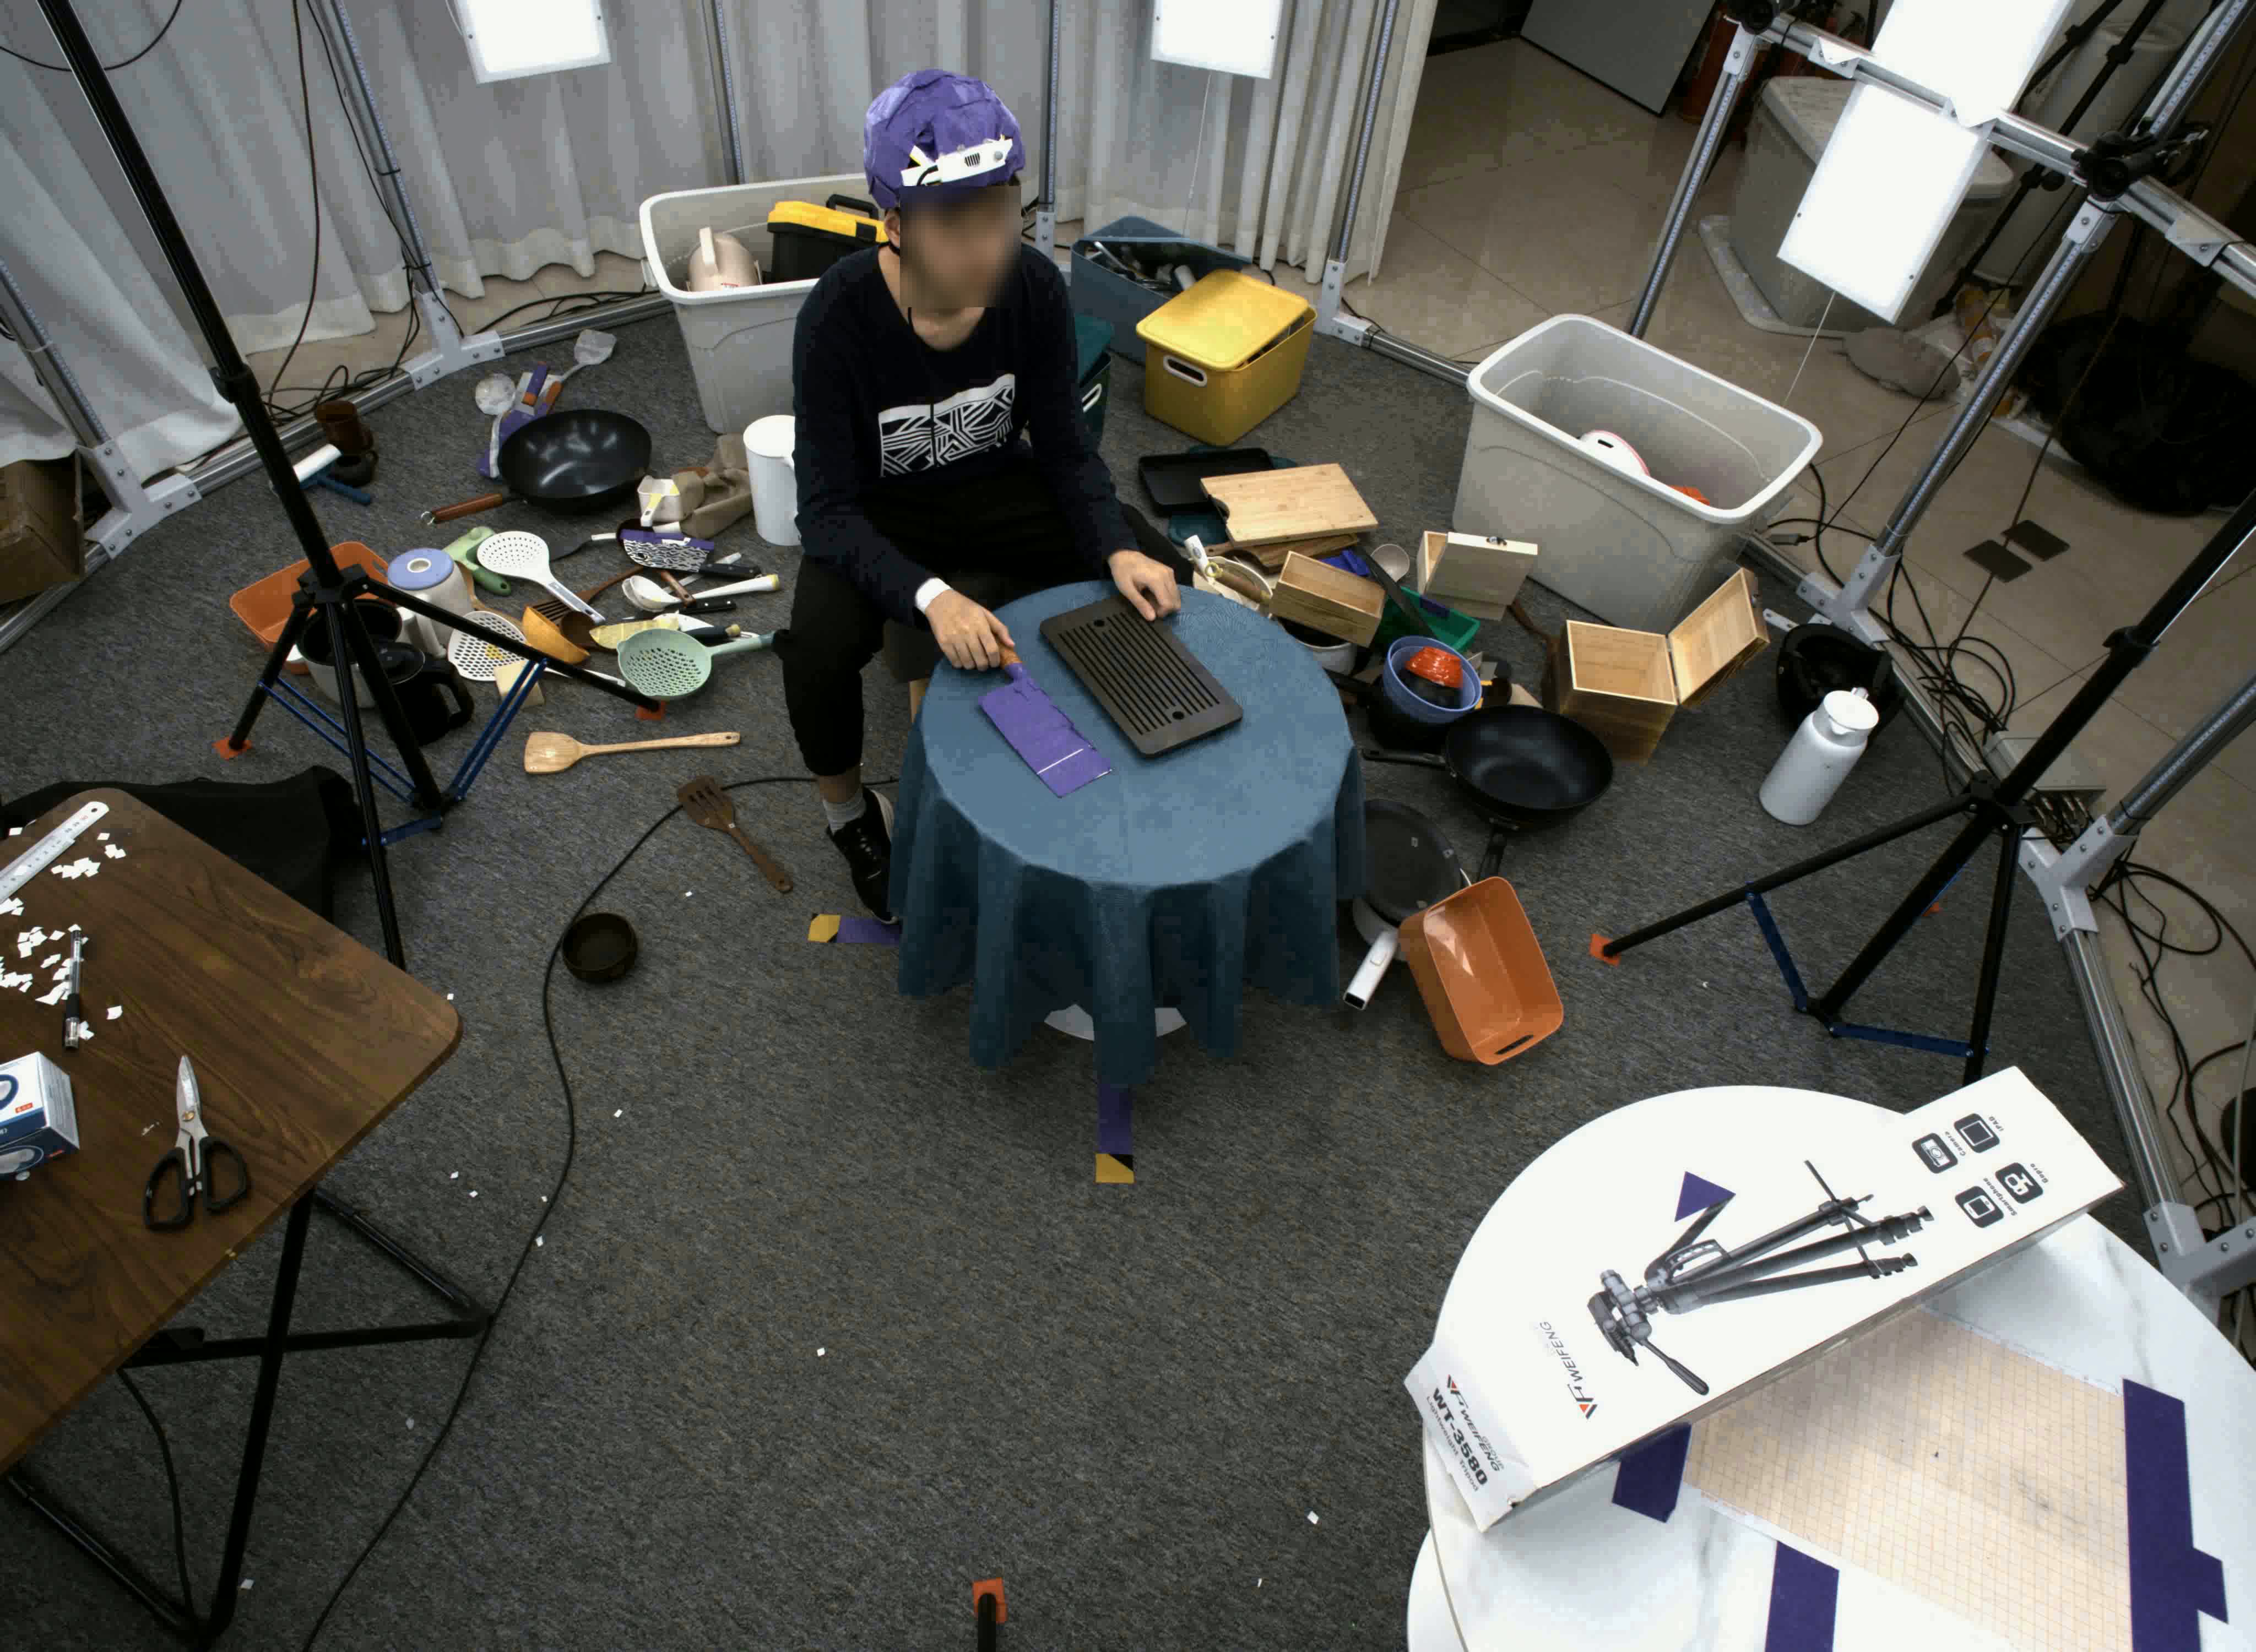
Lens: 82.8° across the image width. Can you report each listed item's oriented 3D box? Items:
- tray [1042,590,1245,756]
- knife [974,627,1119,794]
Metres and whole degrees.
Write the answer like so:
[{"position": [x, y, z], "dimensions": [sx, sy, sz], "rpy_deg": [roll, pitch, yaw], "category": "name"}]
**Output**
[{"position": [0.019, -0.225, 1.852], "dimensions": [0.170, 0.018, 0.312], "rpy_deg": [-23, 54, -22], "category": "tray"}, {"position": [-0.143, -0.164, 1.783], "dimensions": [0.104, 0.031, 0.321], "rpy_deg": [-27, 56, -25], "category": "knife"}]
